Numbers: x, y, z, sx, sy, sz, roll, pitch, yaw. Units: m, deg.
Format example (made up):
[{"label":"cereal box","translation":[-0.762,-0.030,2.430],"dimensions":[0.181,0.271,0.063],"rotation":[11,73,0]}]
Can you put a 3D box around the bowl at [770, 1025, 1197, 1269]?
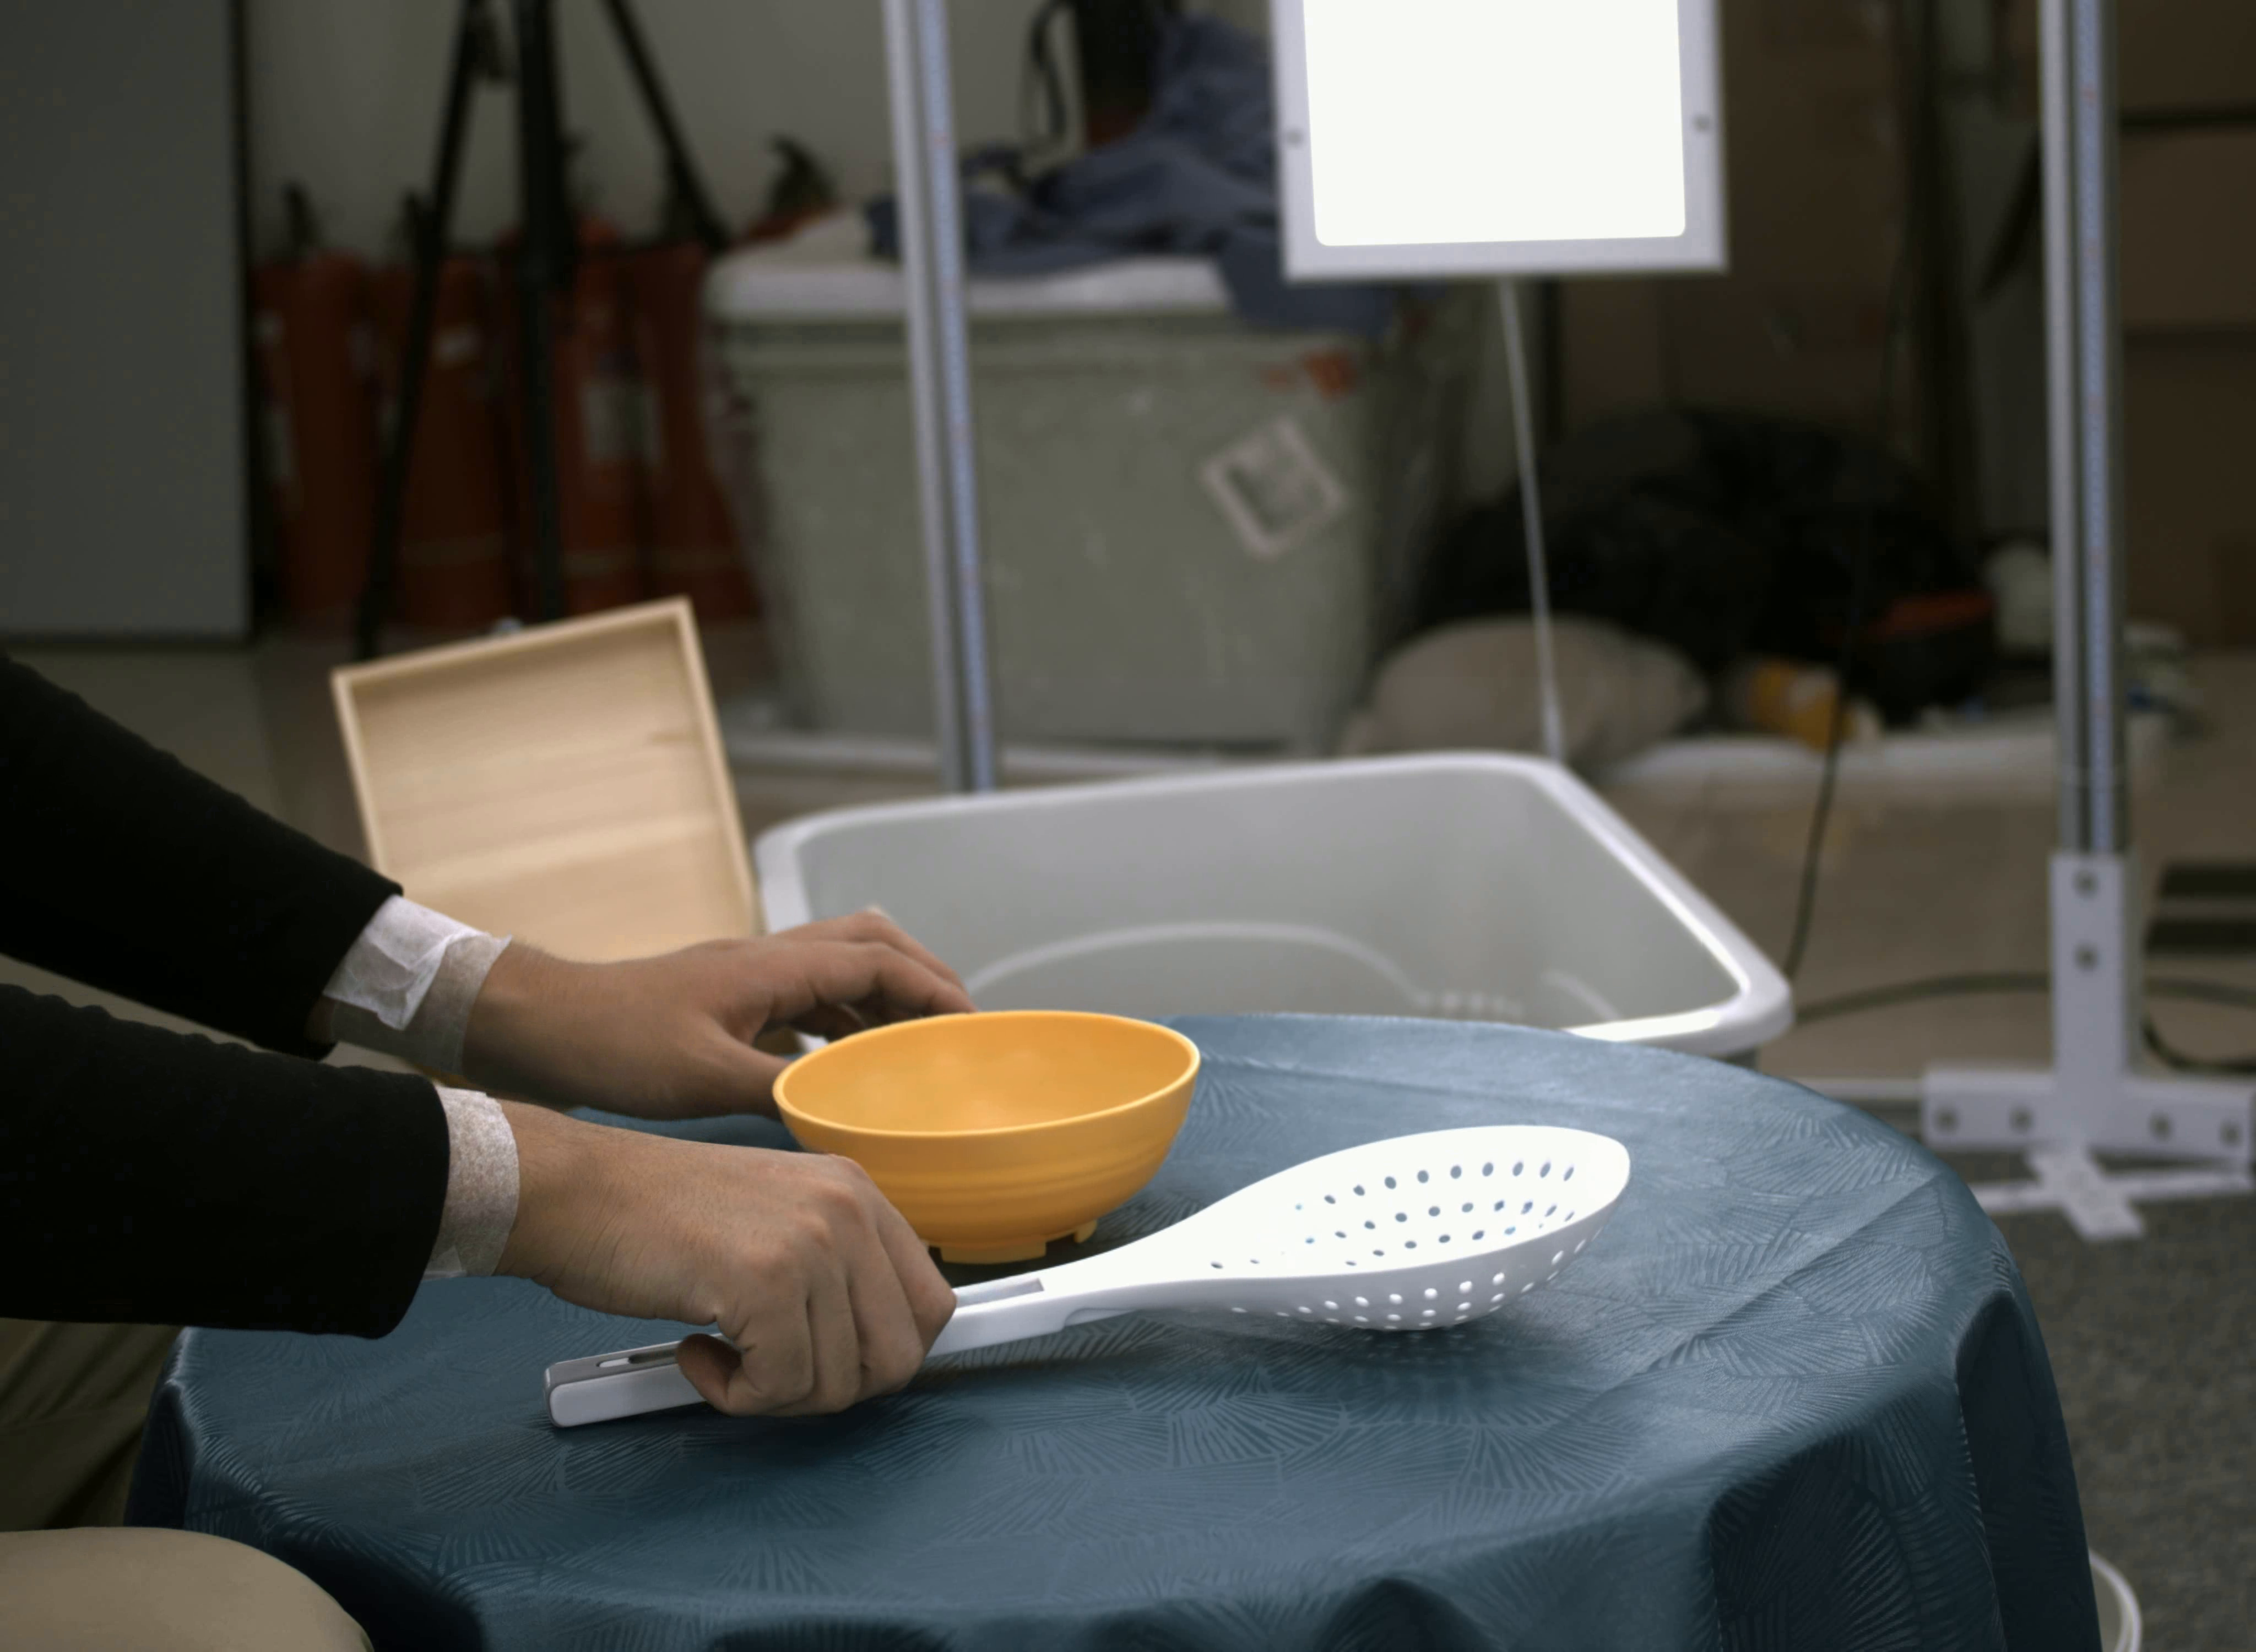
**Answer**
[{"label":"bowl","translation":[-0.047,0.112,1.859],"dimensions":[0.145,0.060,0.145],"rotation":[-4,12,-1]}]

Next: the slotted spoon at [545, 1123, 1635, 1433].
[{"label":"slotted spoon","translation":[-0.010,0.145,1.730],"dimensions":[0.347,0.046,0.136],"rotation":[-7,13,-5]}]
